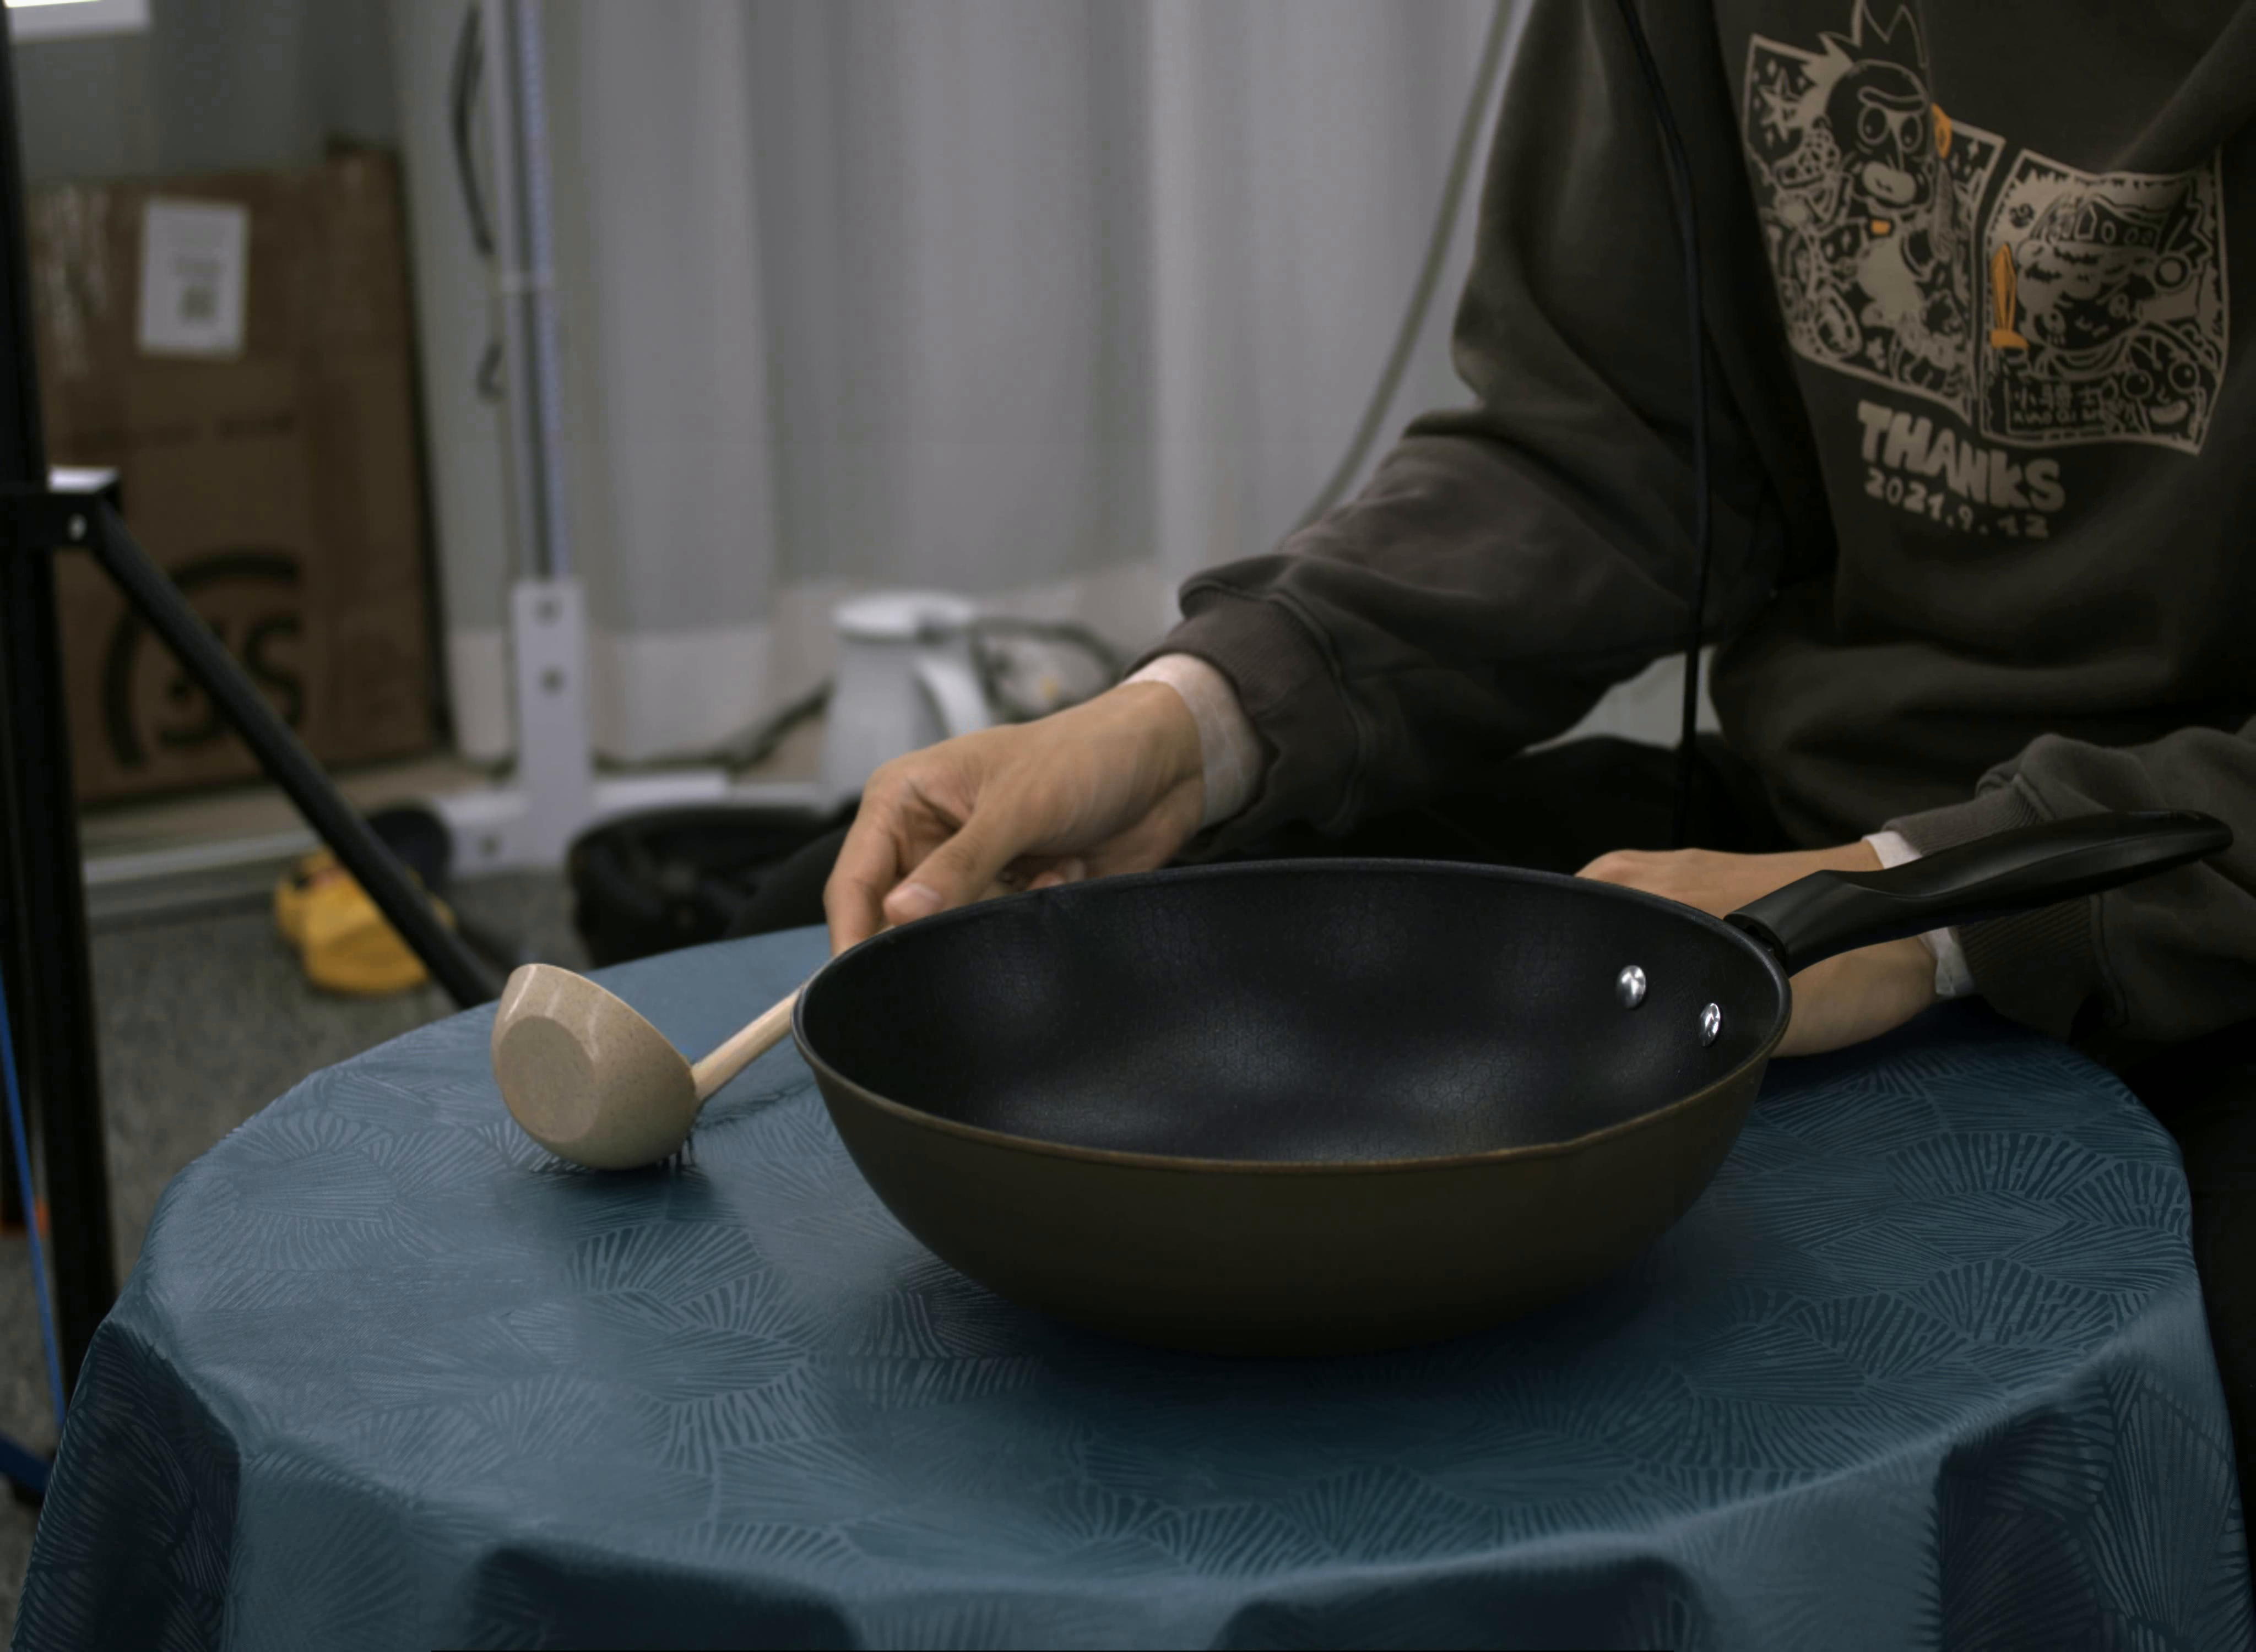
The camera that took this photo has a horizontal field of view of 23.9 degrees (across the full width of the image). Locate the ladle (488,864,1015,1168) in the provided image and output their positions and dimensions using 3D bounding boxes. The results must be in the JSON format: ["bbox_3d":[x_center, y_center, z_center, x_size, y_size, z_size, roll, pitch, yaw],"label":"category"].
[{"bbox_3d":[-0.107,0.031,1.674,0.073,0.072,0.250,11,29,29],"label":"ladle"}]

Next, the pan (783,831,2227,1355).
[{"bbox_3d":[0.124,0.070,1.524,0.453,0.087,0.294,-9,17,-25],"label":"pan"}]
